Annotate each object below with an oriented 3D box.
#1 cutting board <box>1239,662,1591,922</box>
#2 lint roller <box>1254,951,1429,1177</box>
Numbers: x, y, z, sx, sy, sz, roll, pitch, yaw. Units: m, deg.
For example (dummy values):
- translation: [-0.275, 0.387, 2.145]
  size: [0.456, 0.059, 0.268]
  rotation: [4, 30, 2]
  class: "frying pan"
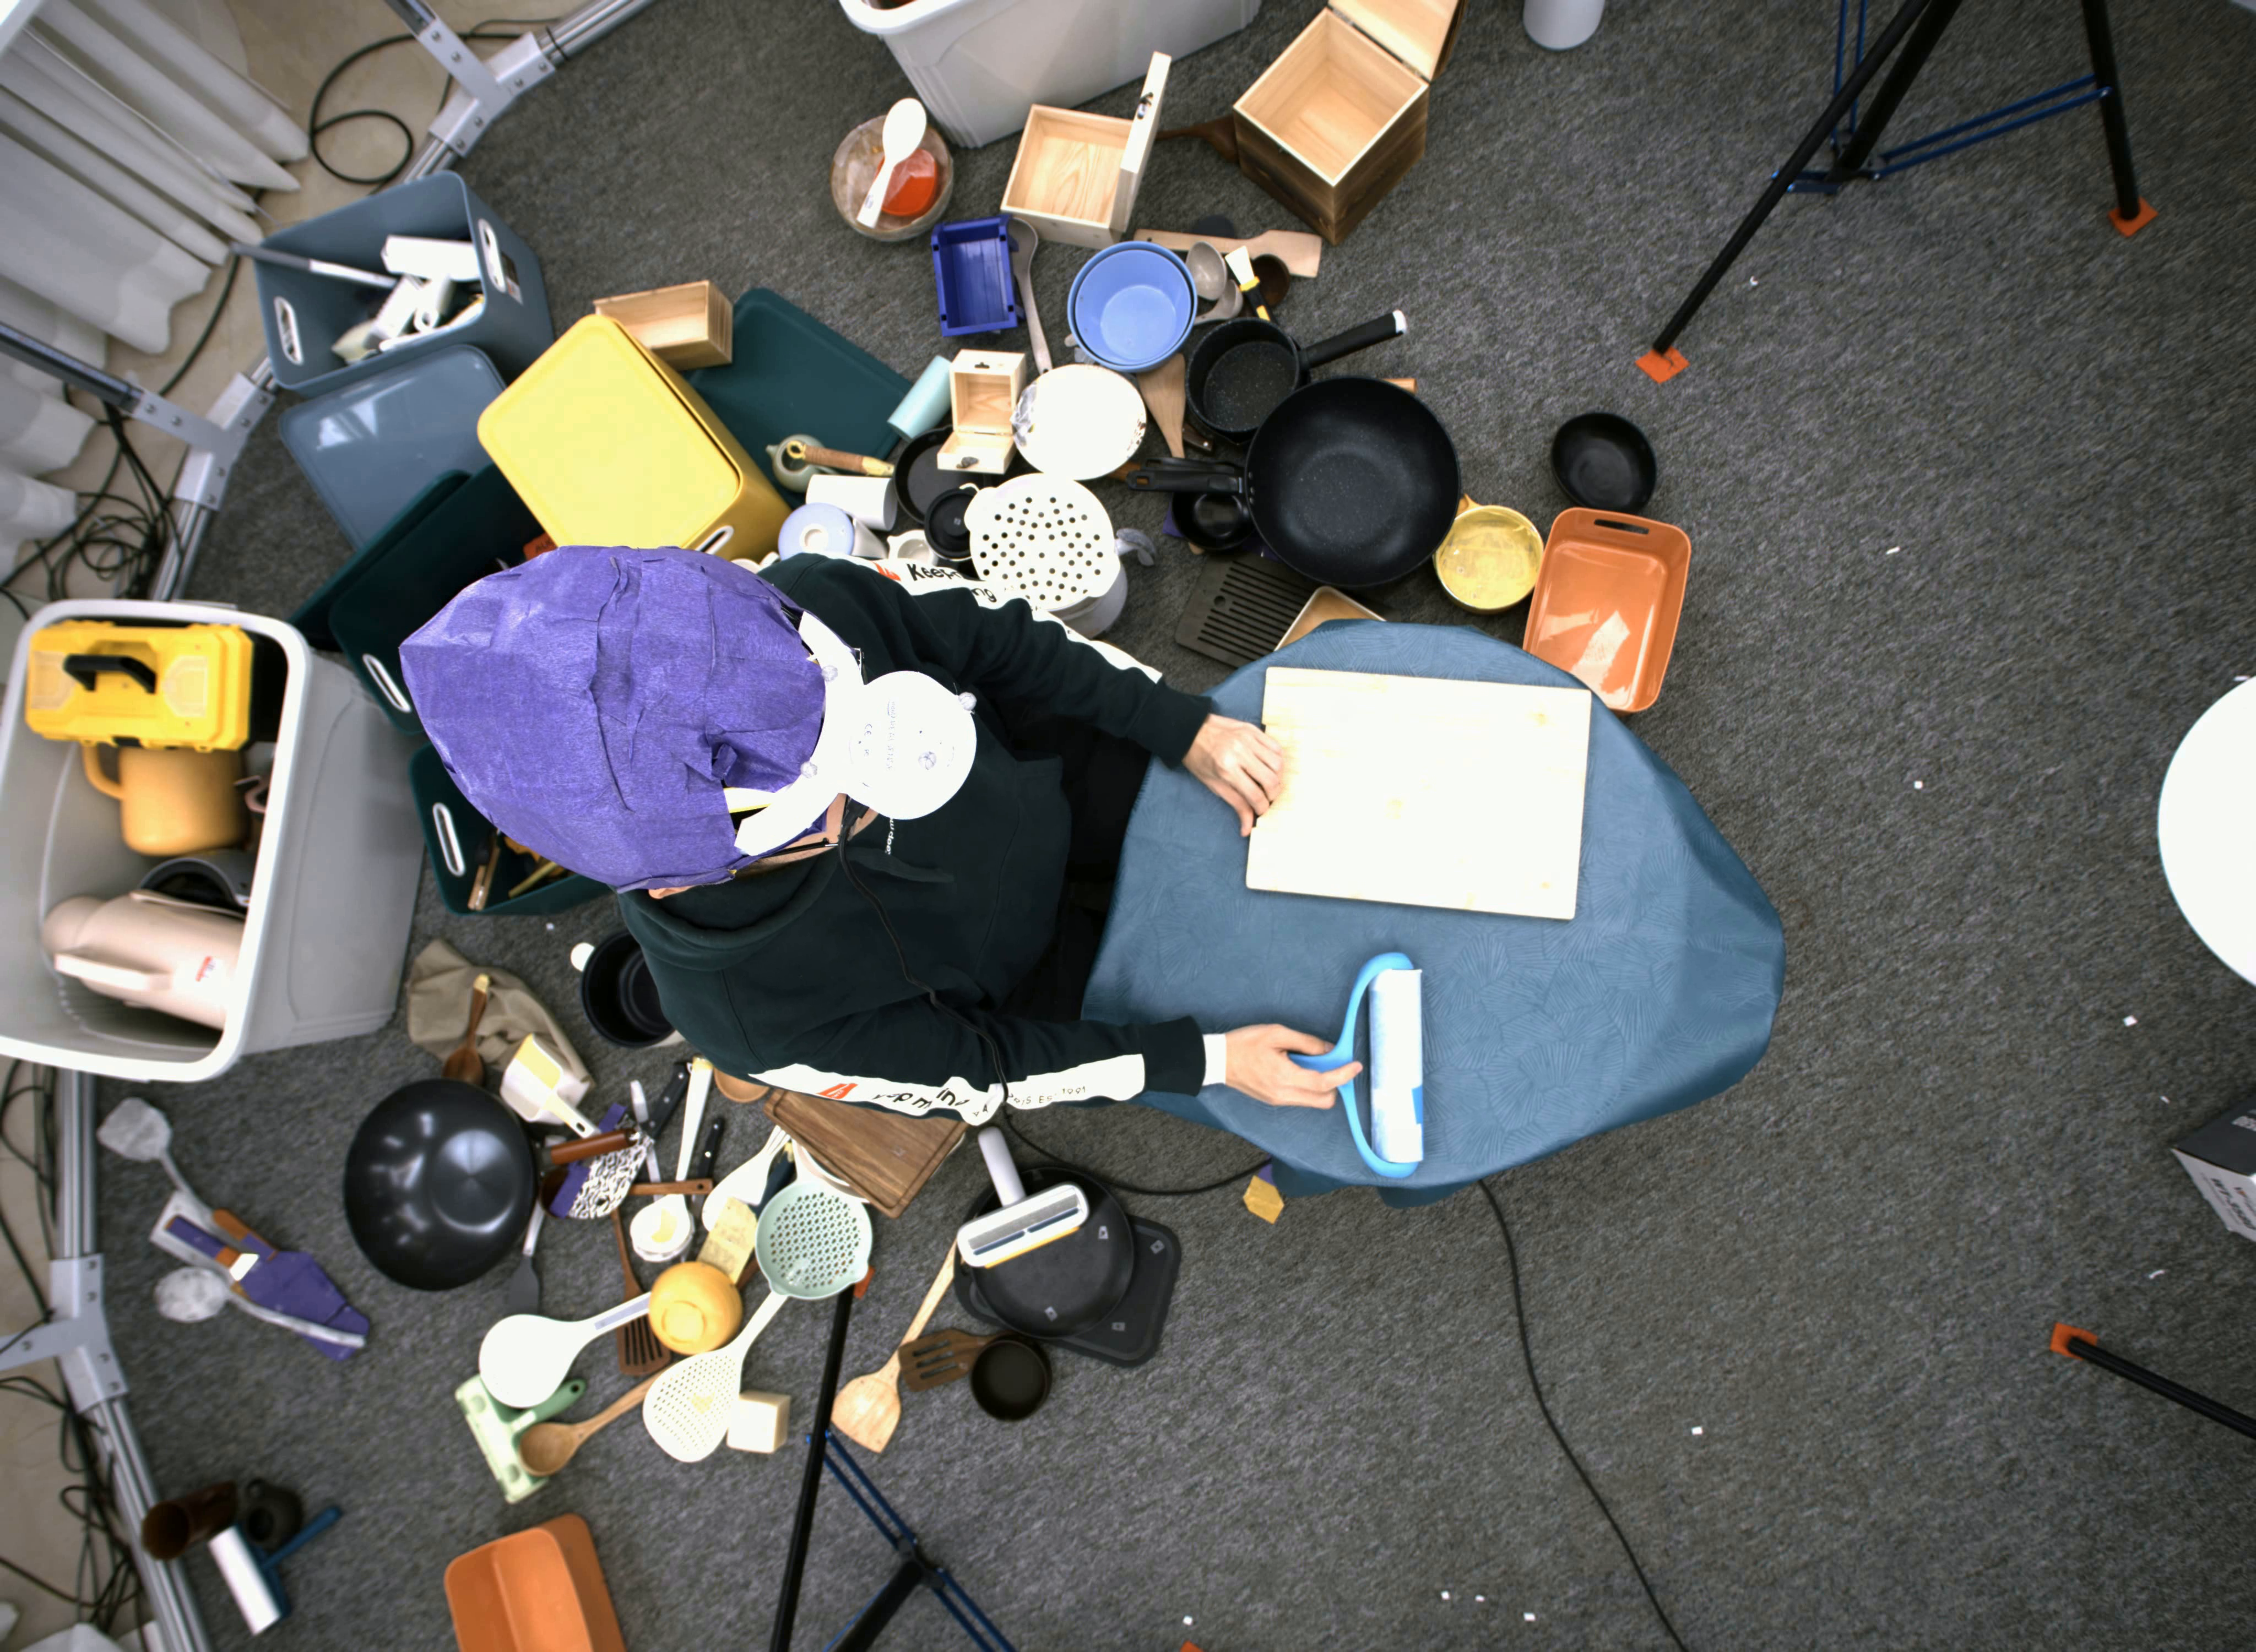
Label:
- translation: [0.299, -0.040, 1.446]
  size: [0.350, 0.023, 0.250]
  rotation: [4, 88, 10]
  class: "cutting board"
- translation: [0.218, 0.246, 1.427]
  size: [0.181, 0.068, 0.228]
  rotation: [-4, 87, 9]
  class: "lint roller"
